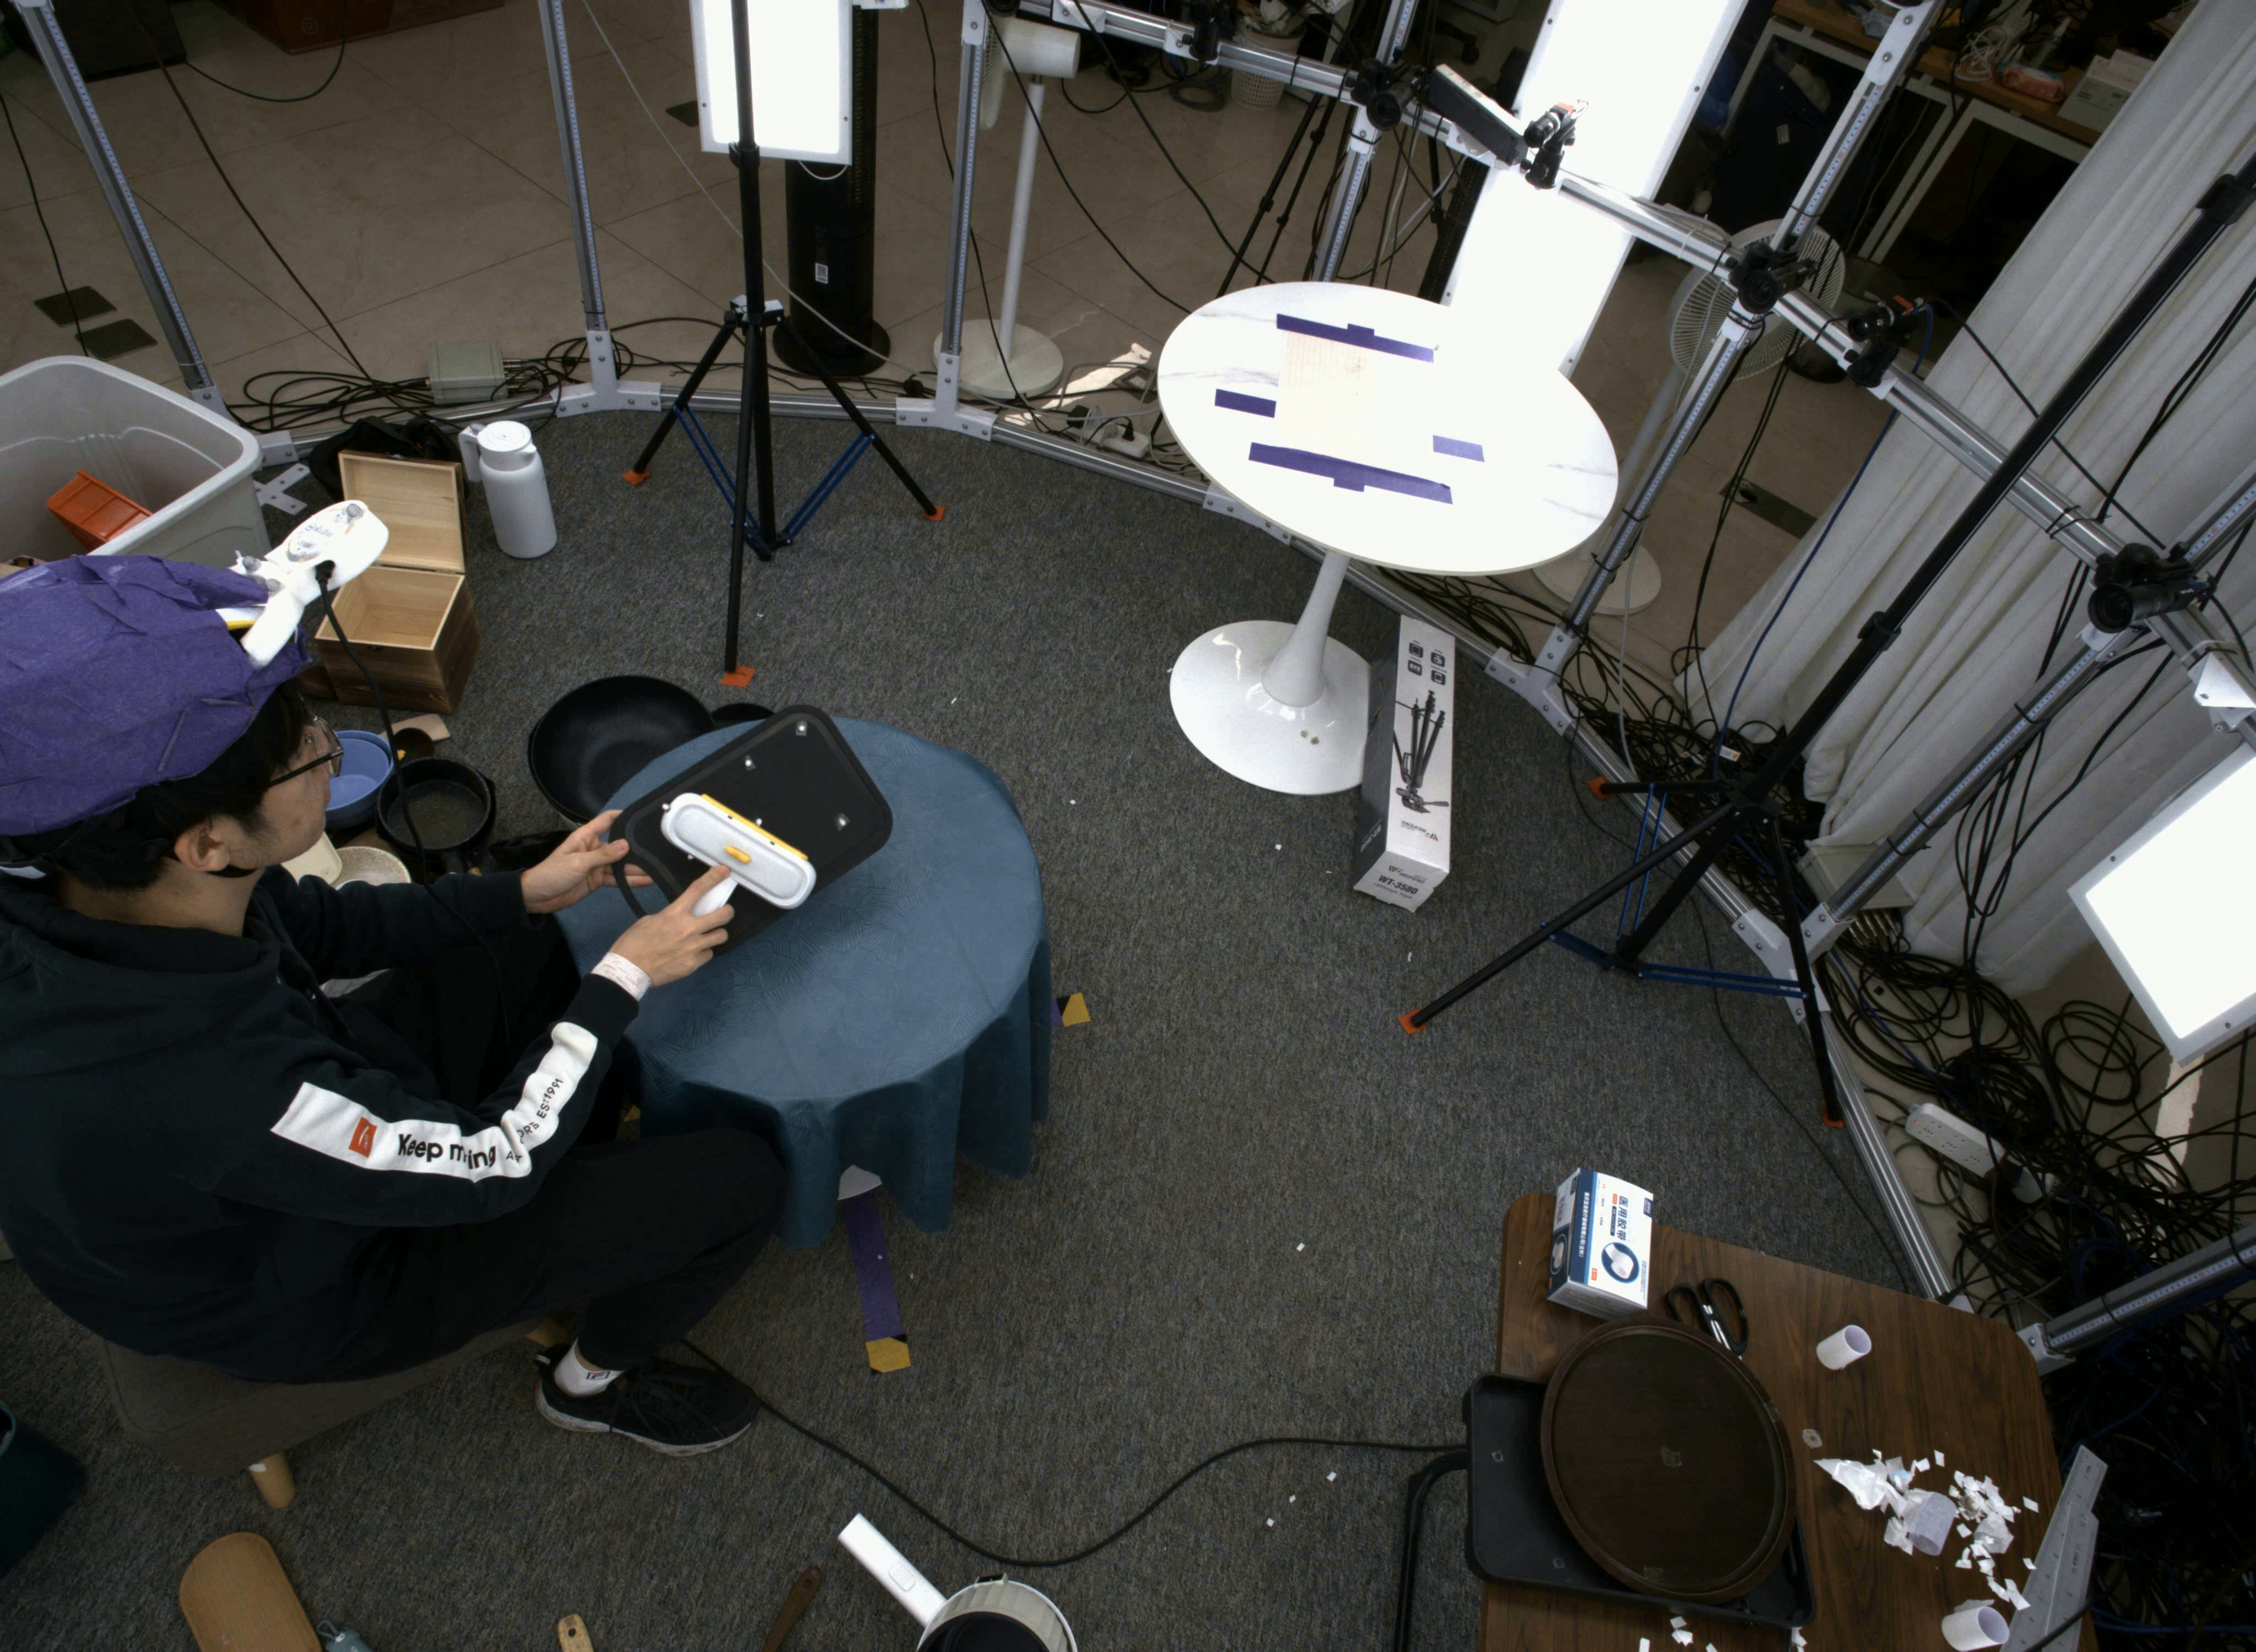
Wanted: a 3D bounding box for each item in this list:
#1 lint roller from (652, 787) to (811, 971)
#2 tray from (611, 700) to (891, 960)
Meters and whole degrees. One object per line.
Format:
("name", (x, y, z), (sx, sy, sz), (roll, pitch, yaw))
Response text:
("lint roller", (-0.490, 0.075, 1.513), (0.197, 0.072, 0.193), (30, 80, -24))
("tray", (-0.458, 0.007, 1.561), (0.325, 0.009, 0.215), (-36, 103, -20))
